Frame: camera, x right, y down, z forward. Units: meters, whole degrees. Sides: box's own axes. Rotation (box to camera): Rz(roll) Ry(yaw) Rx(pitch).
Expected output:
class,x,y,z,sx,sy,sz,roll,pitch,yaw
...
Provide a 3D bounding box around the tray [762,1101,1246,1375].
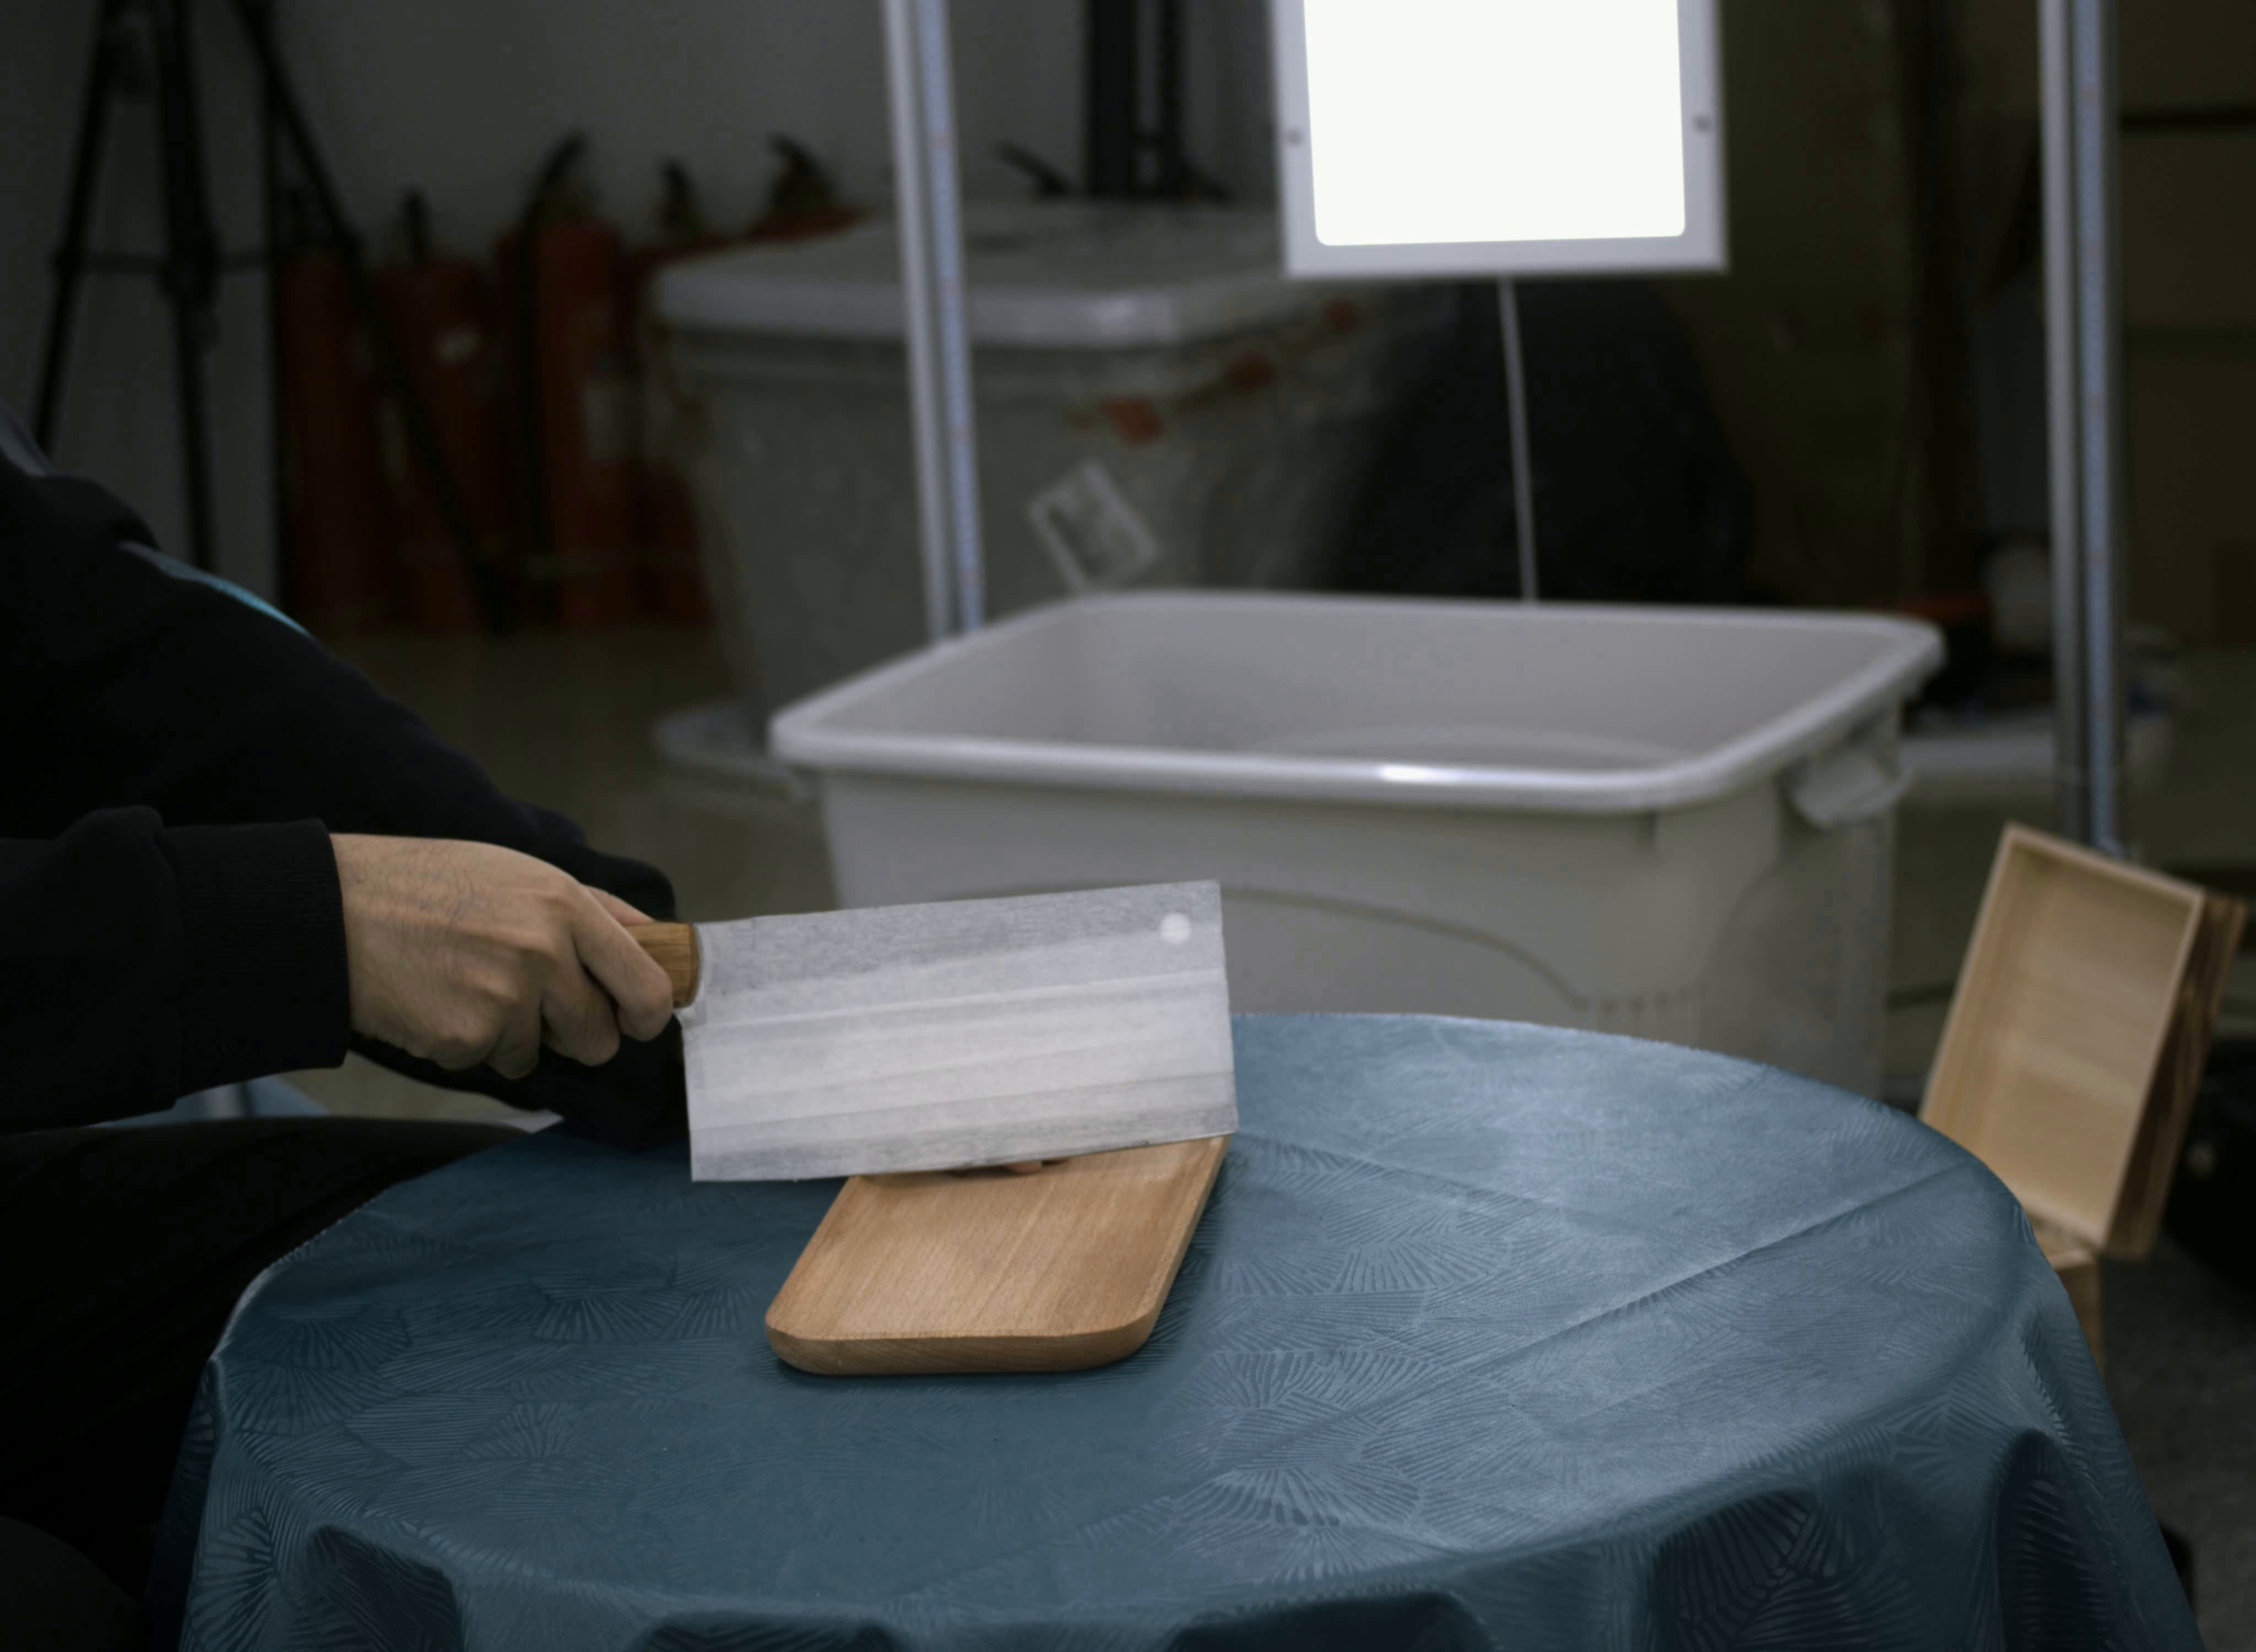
class,x,y,z,sx,sy,sz,roll,pitch,yaw
tray,-0.038,0.136,1.842,0.131,0.023,0.248,0,13,11

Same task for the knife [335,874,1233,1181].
class,x,y,z,sx,sy,sz,roll,pitch,yaw
knife,-0.116,0.073,1.890,0.304,0.093,0.021,-5,4,-1
